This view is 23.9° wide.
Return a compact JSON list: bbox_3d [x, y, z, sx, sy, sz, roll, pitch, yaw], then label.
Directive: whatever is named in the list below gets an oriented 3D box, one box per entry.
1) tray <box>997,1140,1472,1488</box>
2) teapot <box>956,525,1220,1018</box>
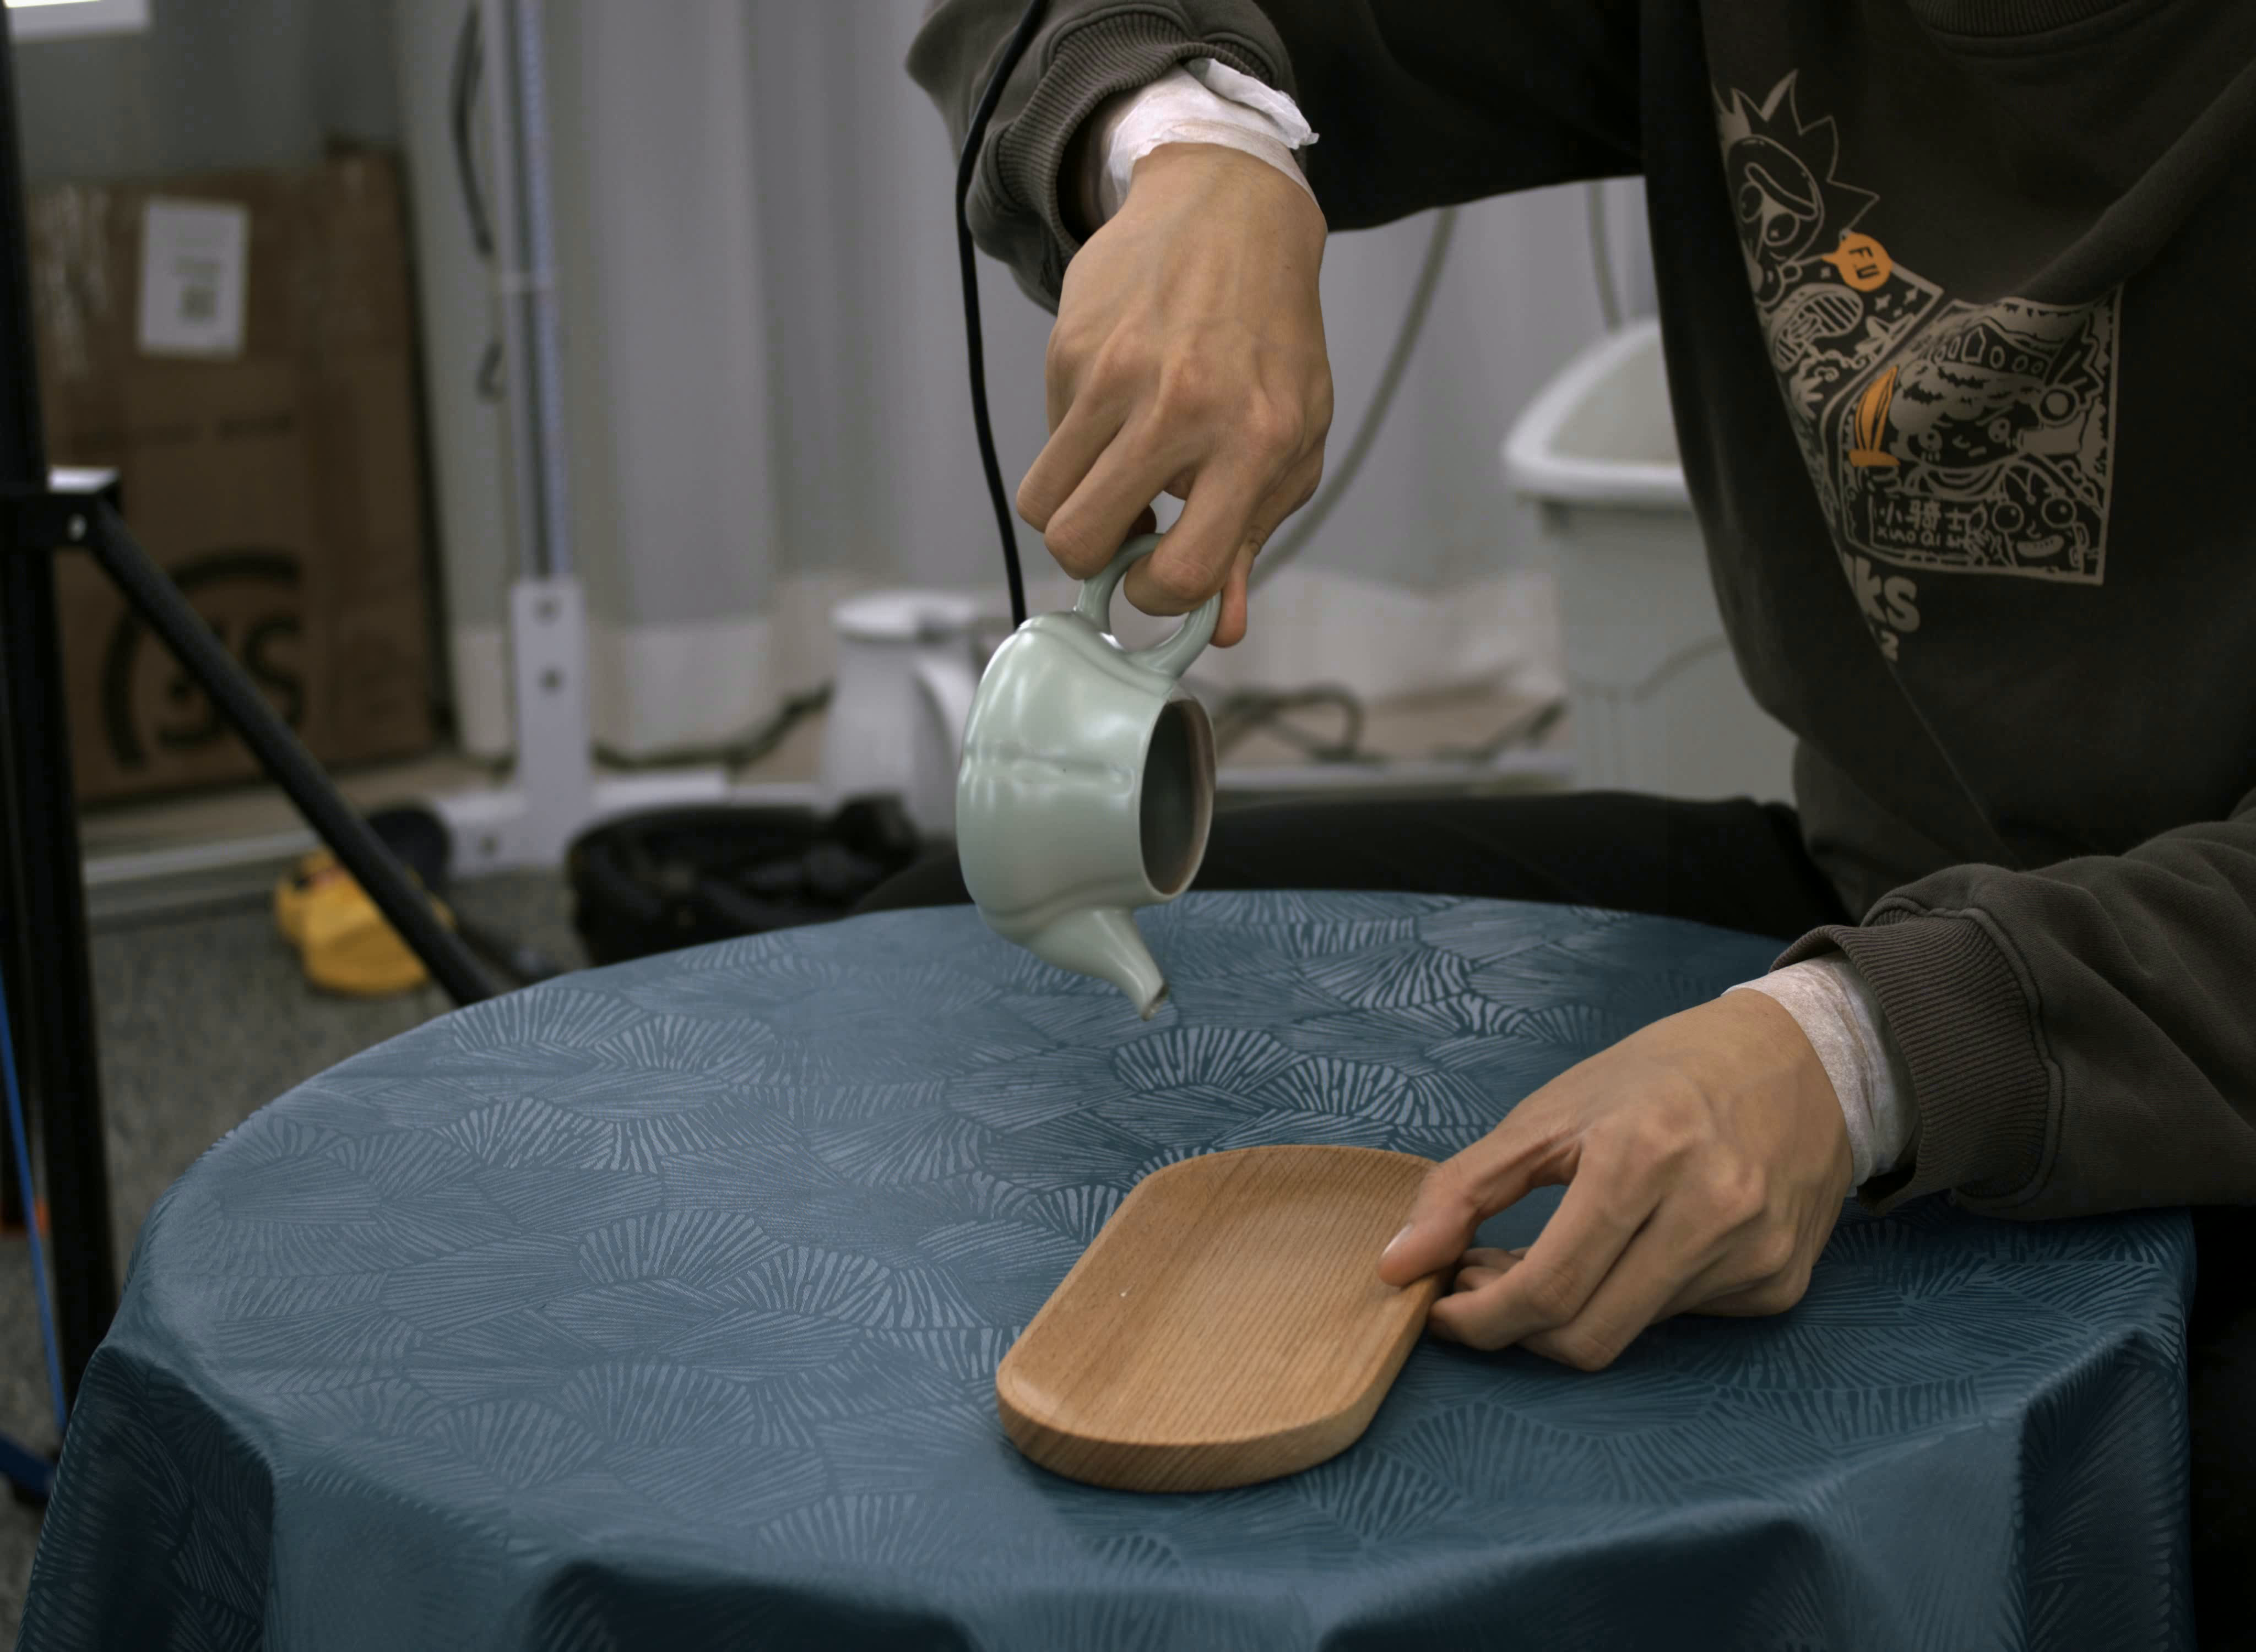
[{"bbox_3d":[0.032,0.130,1.447,0.102,0.020,0.229,2,15,14],"label":"tray"},{"bbox_3d":[-0.009,-0.017,1.502,0.062,0.137,0.094,8,1,23],"label":"teapot"}]
